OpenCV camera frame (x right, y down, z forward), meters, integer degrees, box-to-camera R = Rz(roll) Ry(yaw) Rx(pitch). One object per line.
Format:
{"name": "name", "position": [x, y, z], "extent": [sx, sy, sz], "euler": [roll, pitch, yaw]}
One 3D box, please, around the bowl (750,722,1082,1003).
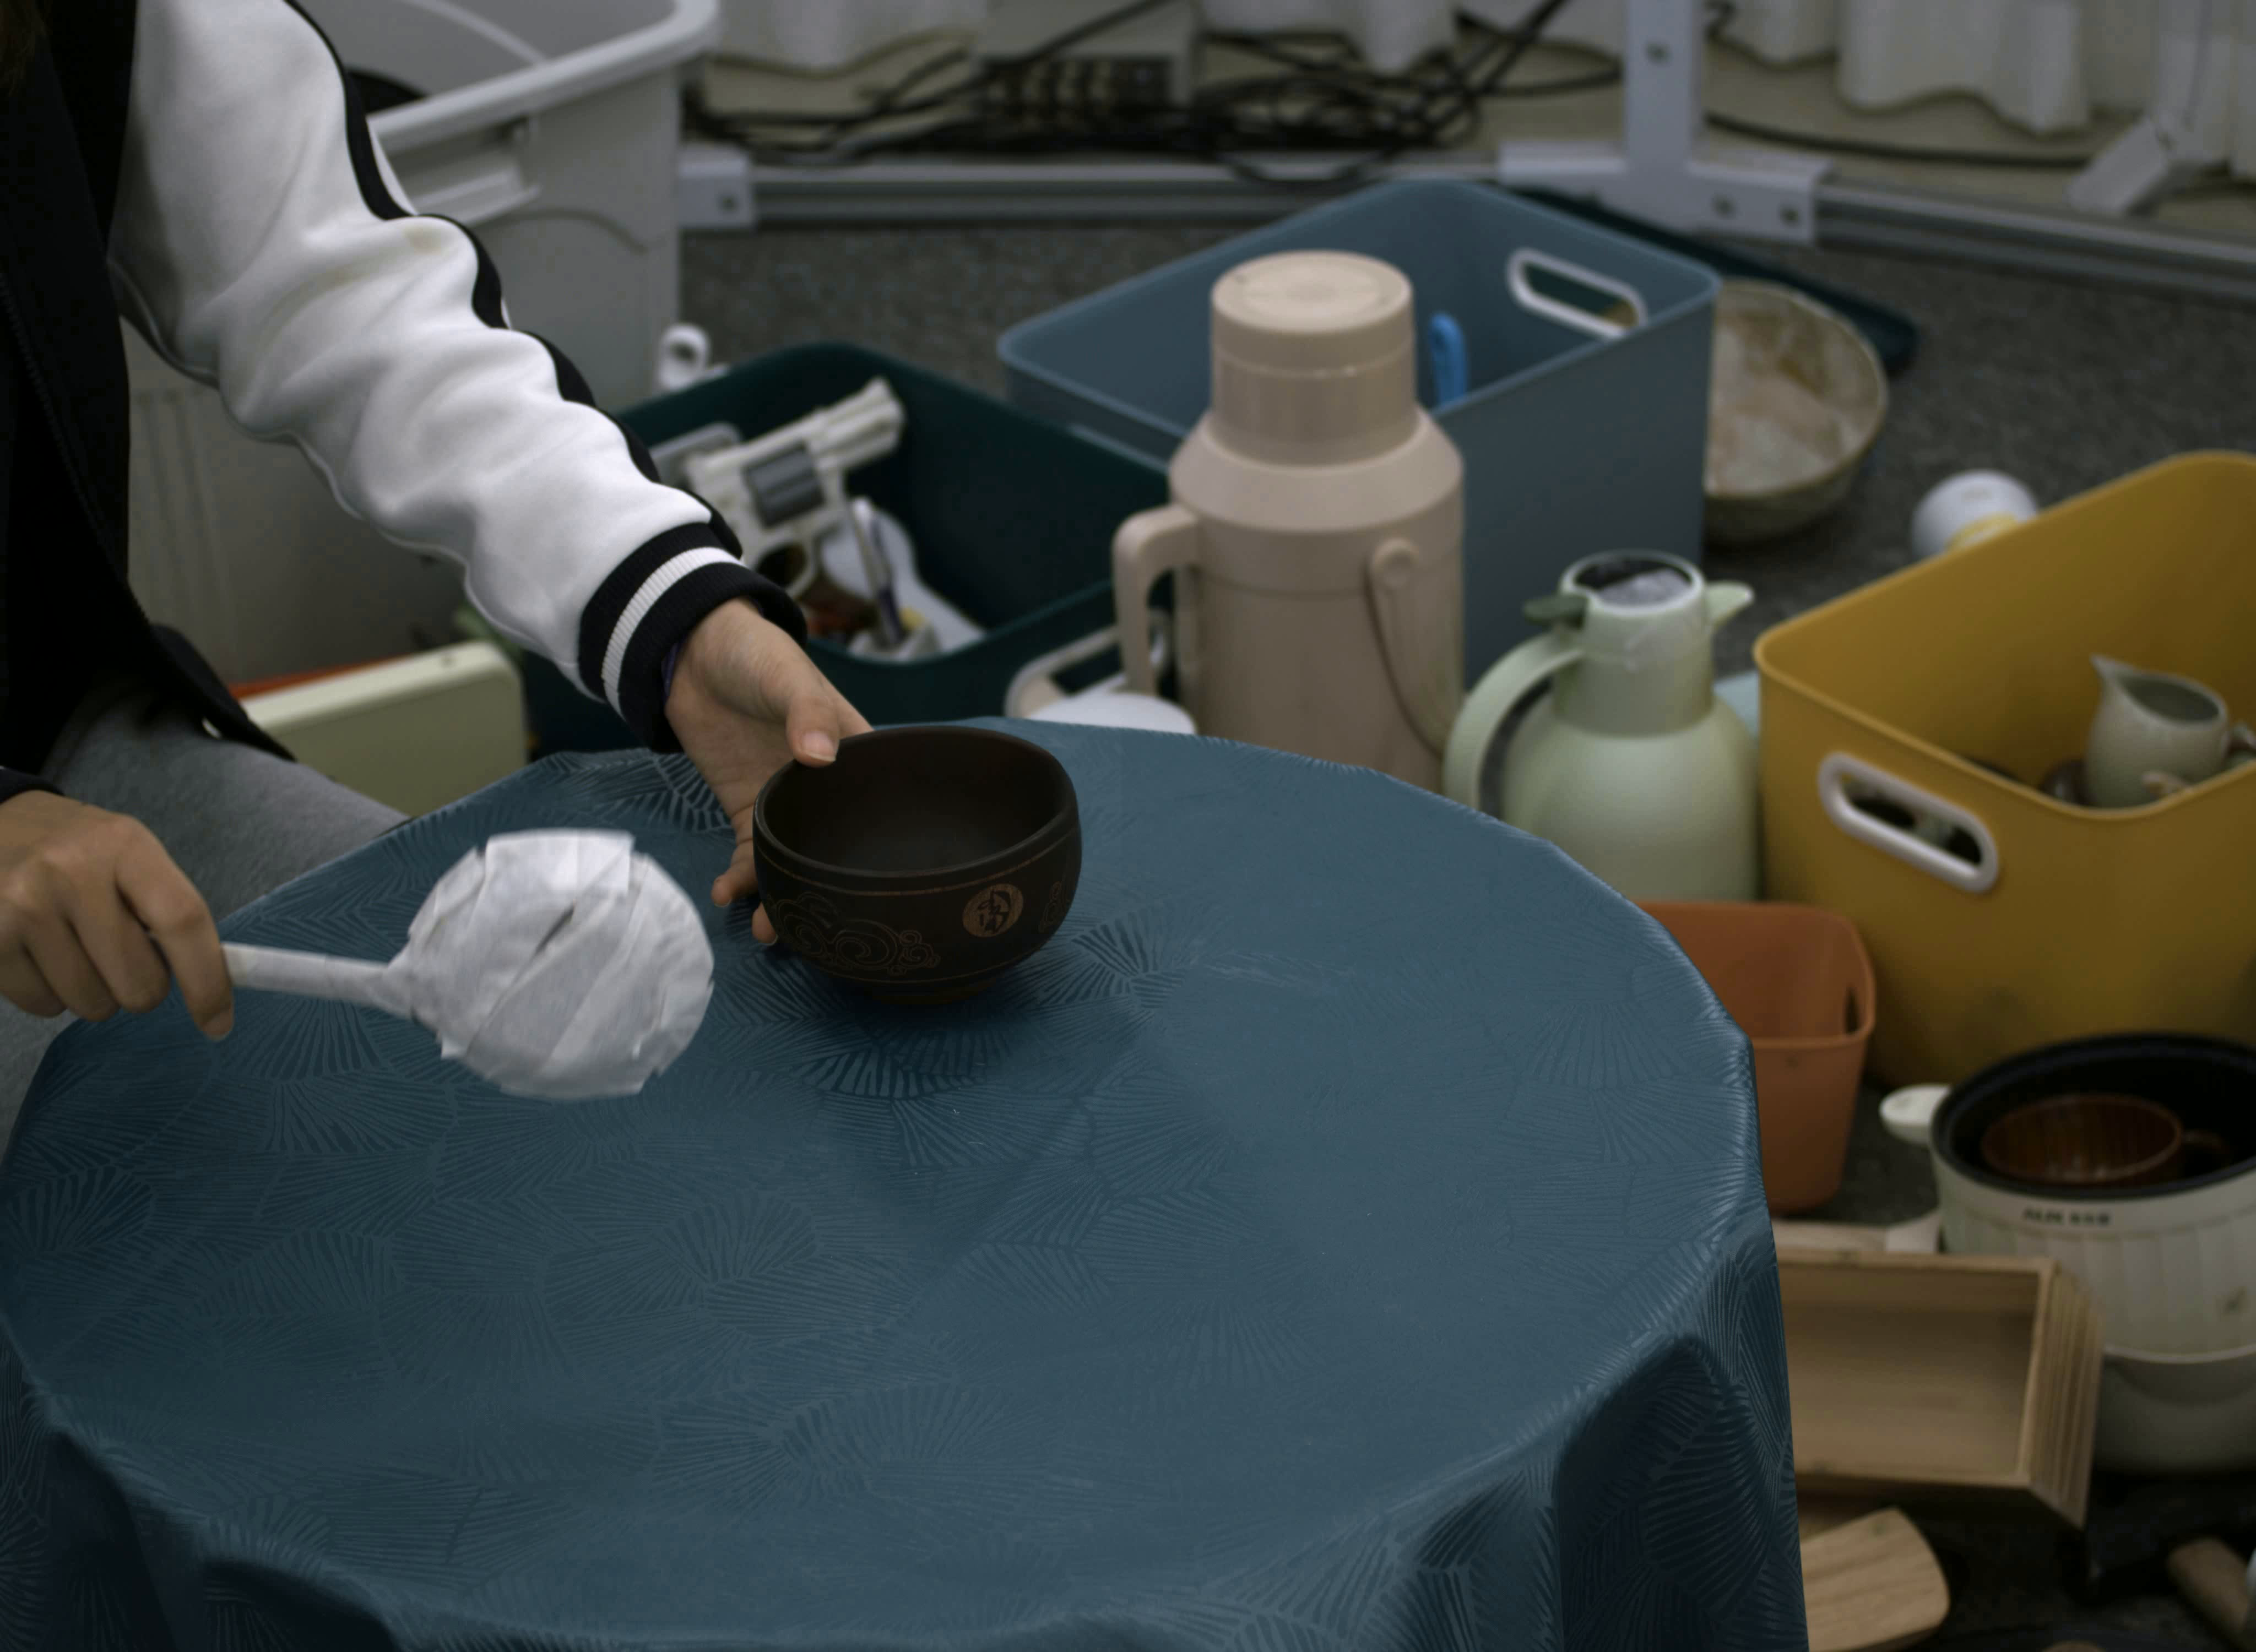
{"name": "bowl", "position": [-0.074, 0.019, 1.988], "extent": [0.117, 0.069, 0.120], "euler": [-2, 26, 2]}

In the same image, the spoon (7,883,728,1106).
{"name": "spoon", "position": [-0.250, 0.043, 1.820], "extent": [0.275, 0.099, 0.060], "euler": [10, 49, 36]}
